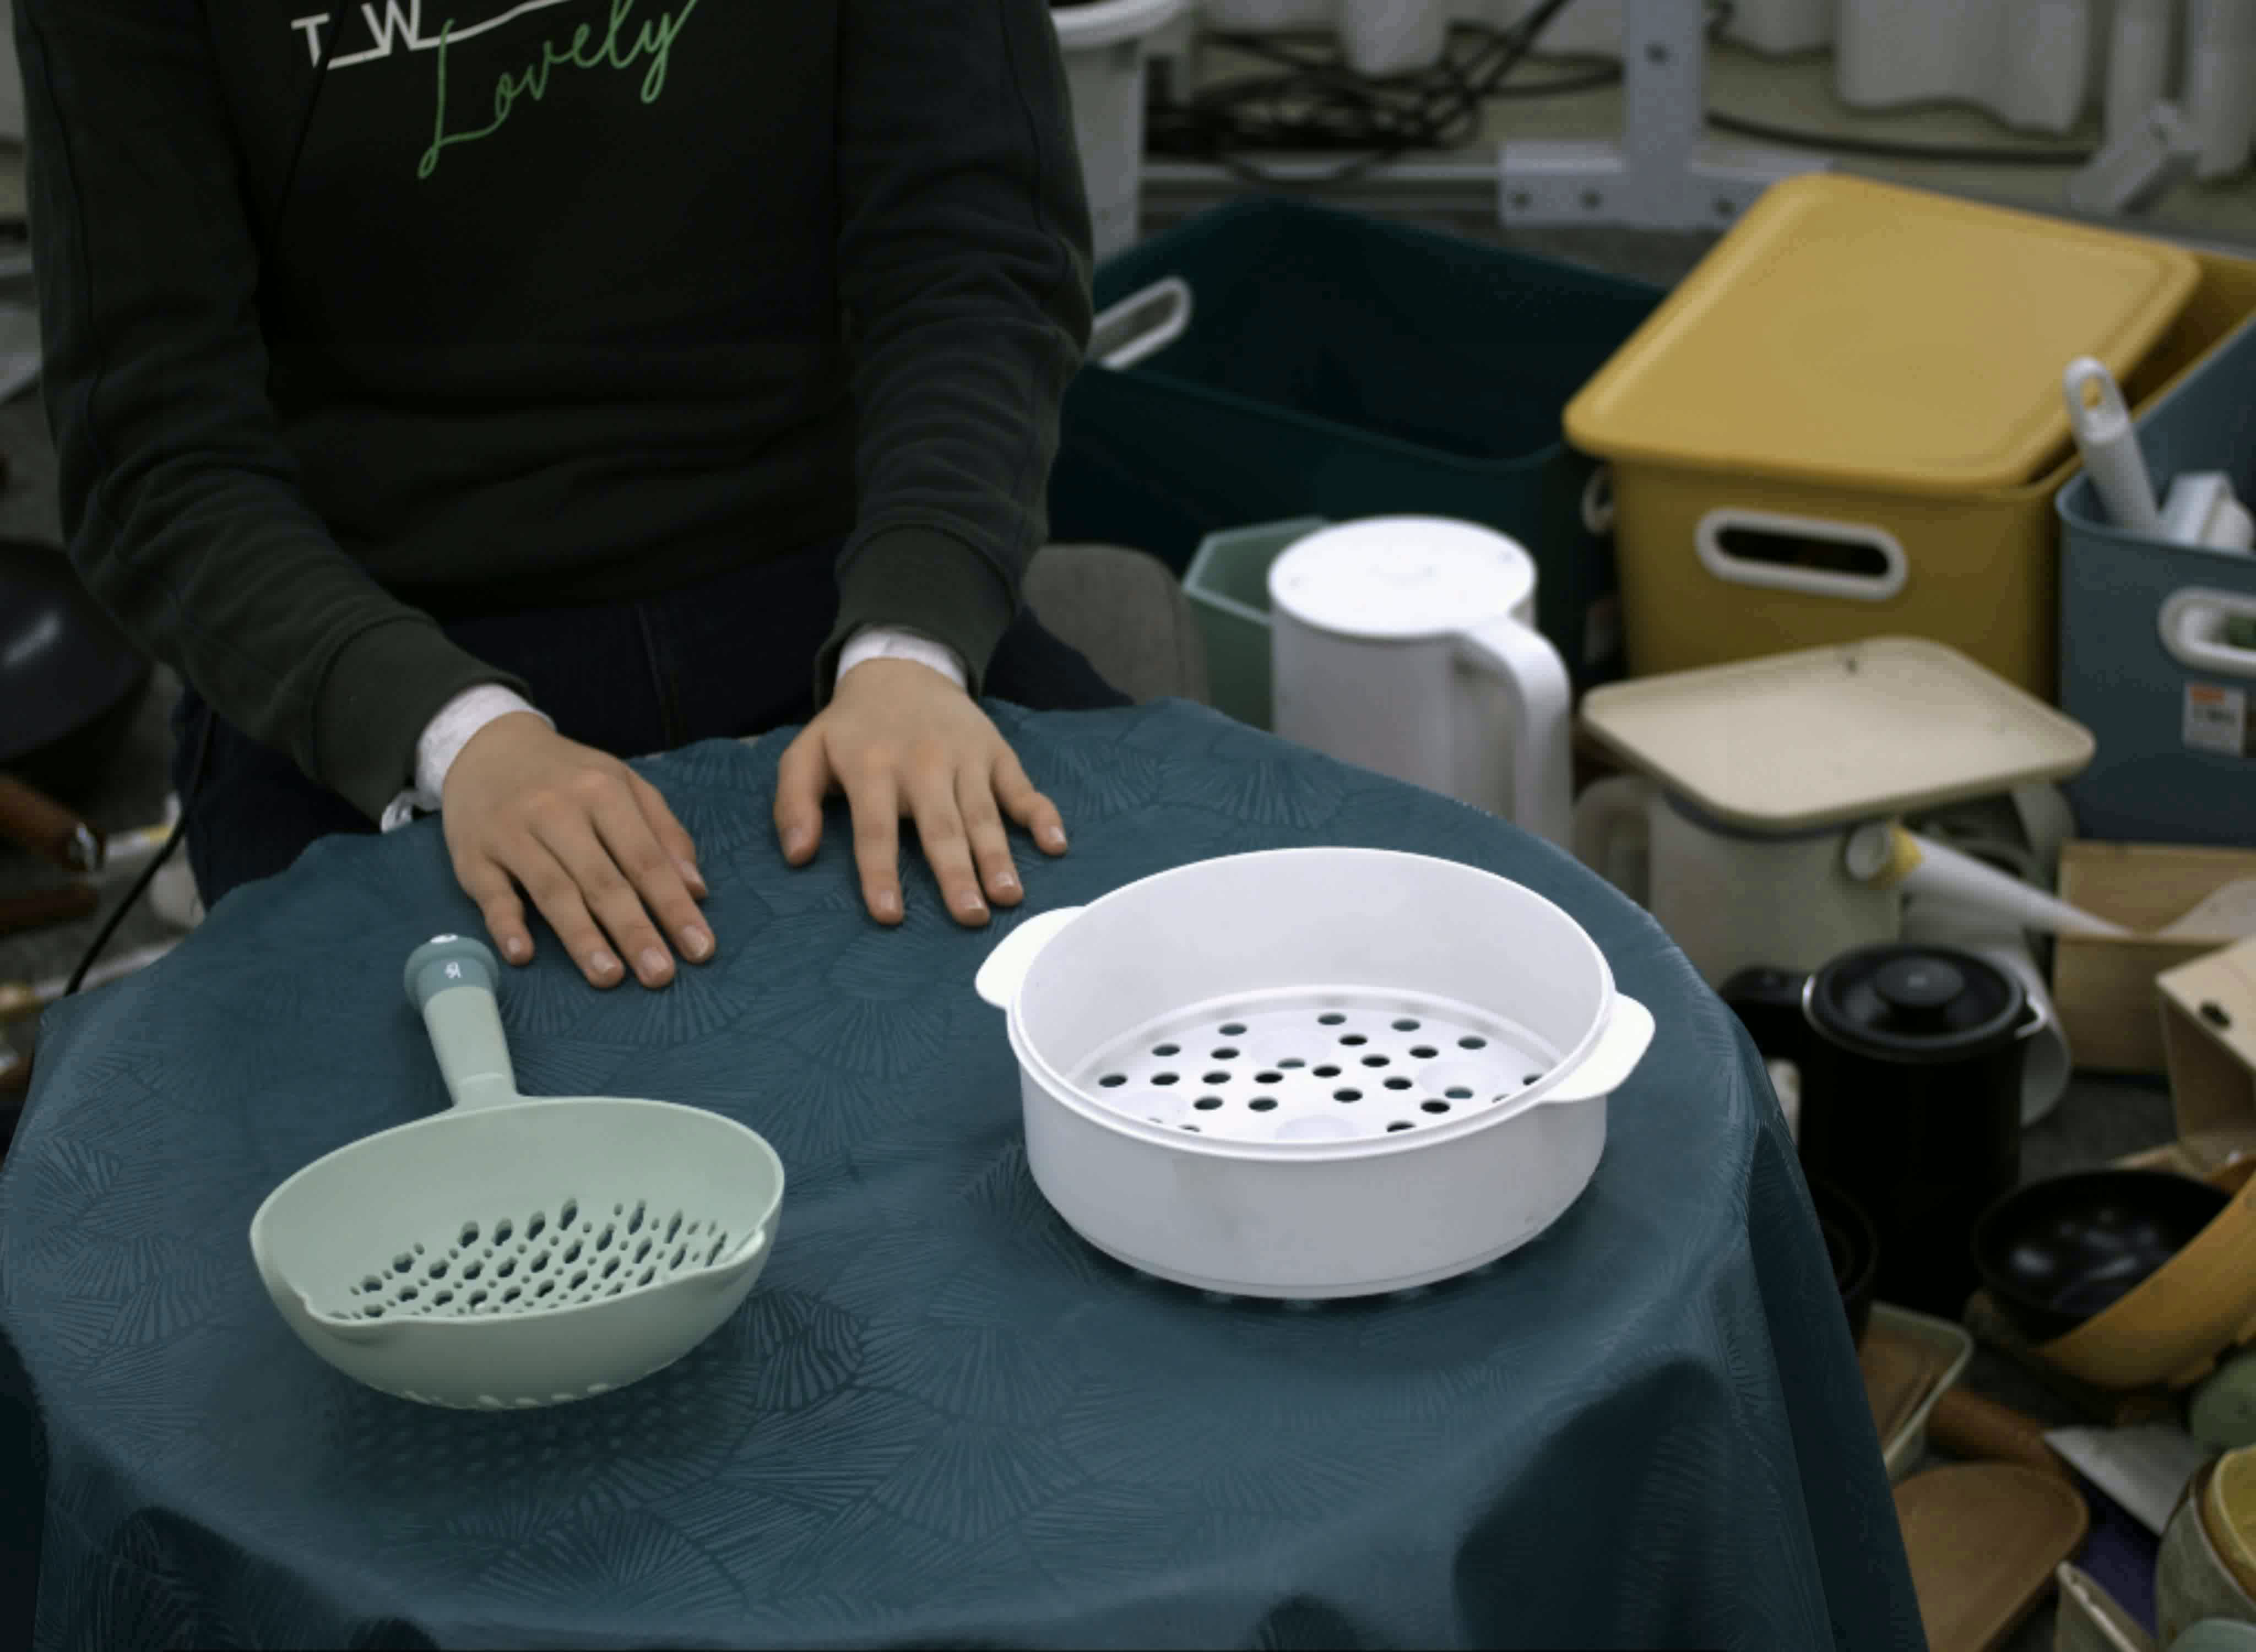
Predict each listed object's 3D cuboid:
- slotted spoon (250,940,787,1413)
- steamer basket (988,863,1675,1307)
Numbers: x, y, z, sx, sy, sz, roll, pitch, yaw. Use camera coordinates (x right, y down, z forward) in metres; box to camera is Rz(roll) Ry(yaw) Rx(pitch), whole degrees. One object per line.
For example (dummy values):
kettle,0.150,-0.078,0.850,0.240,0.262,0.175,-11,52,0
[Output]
slotted spoon,-0.209,0.100,1.855,0.169,0.074,0.363,-7,27,-10
steamer basket,0.066,0.085,1.857,0.229,0.068,0.205,8,28,21
